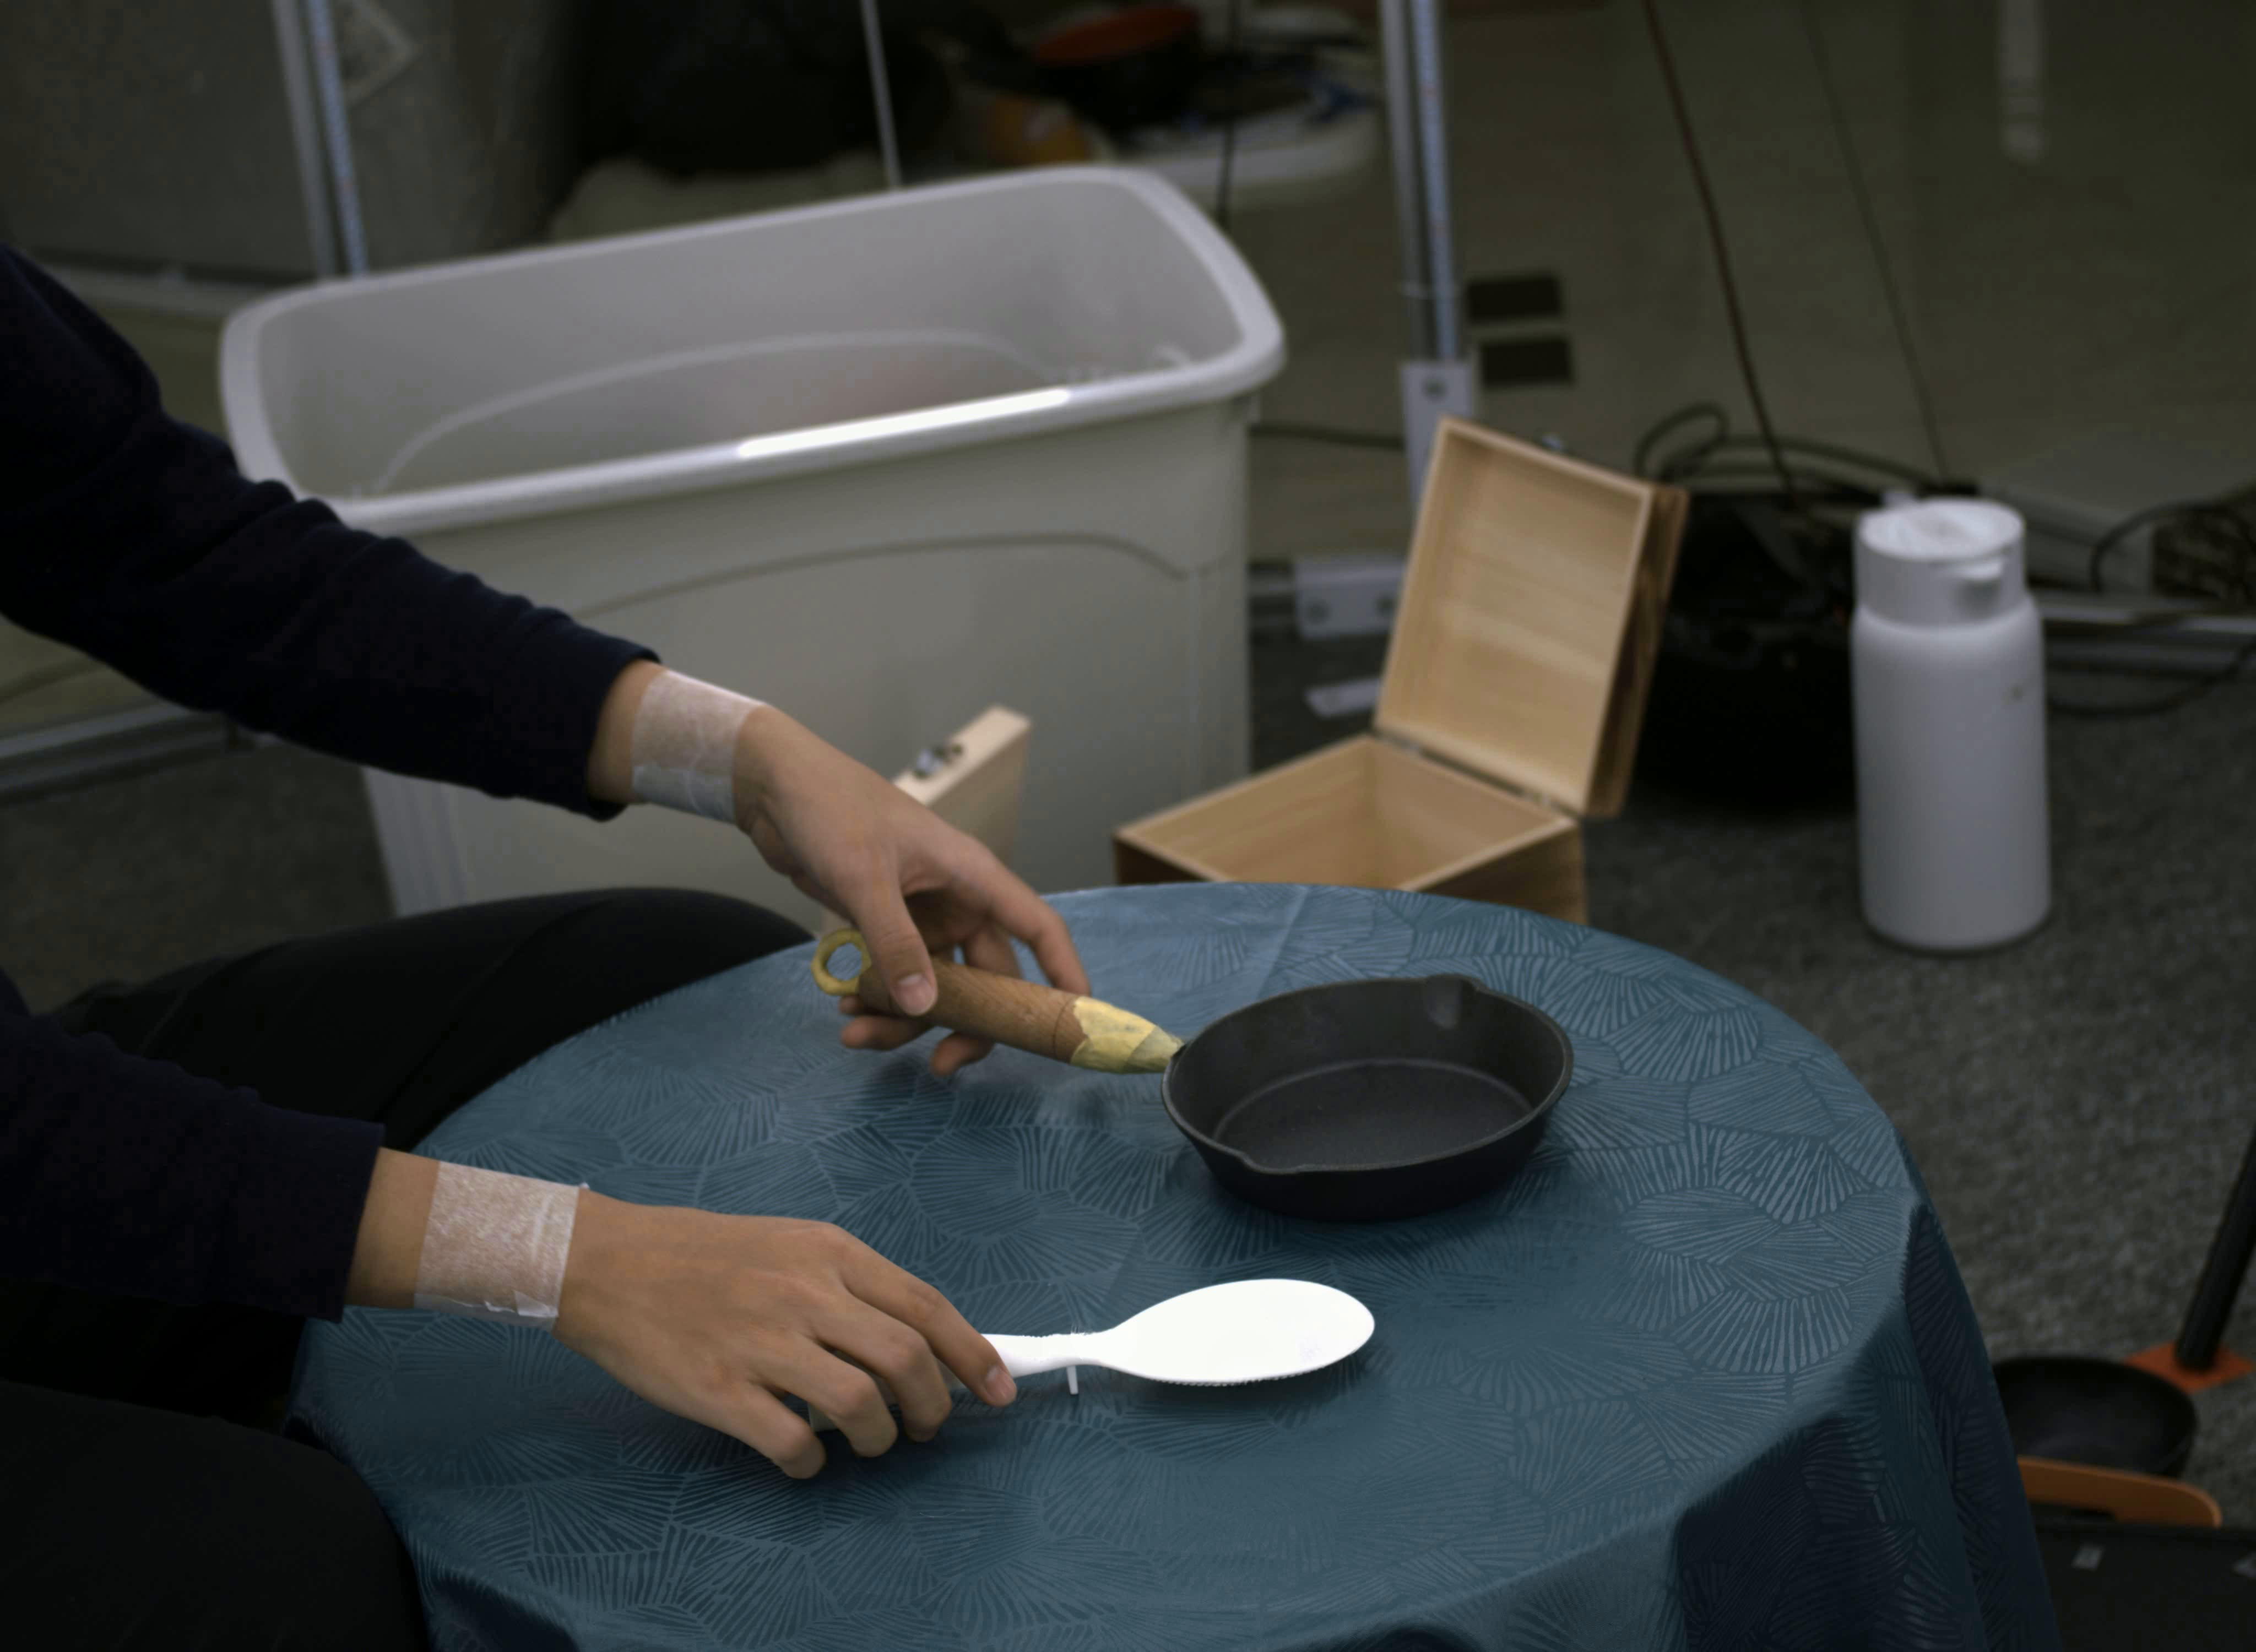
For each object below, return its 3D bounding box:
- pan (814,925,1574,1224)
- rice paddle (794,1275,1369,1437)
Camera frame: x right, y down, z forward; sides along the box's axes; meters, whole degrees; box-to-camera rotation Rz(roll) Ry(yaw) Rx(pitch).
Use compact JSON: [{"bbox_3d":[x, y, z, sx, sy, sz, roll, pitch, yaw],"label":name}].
[{"bbox_3d":[0.019,0.087,2.192,0.322,0.050,0.167,11,30,29],"label":"pan"},{"bbox_3d":[-0.016,0.186,2.016,0.205,0.030,0.068,-8,27,-3],"label":"rice paddle"}]
